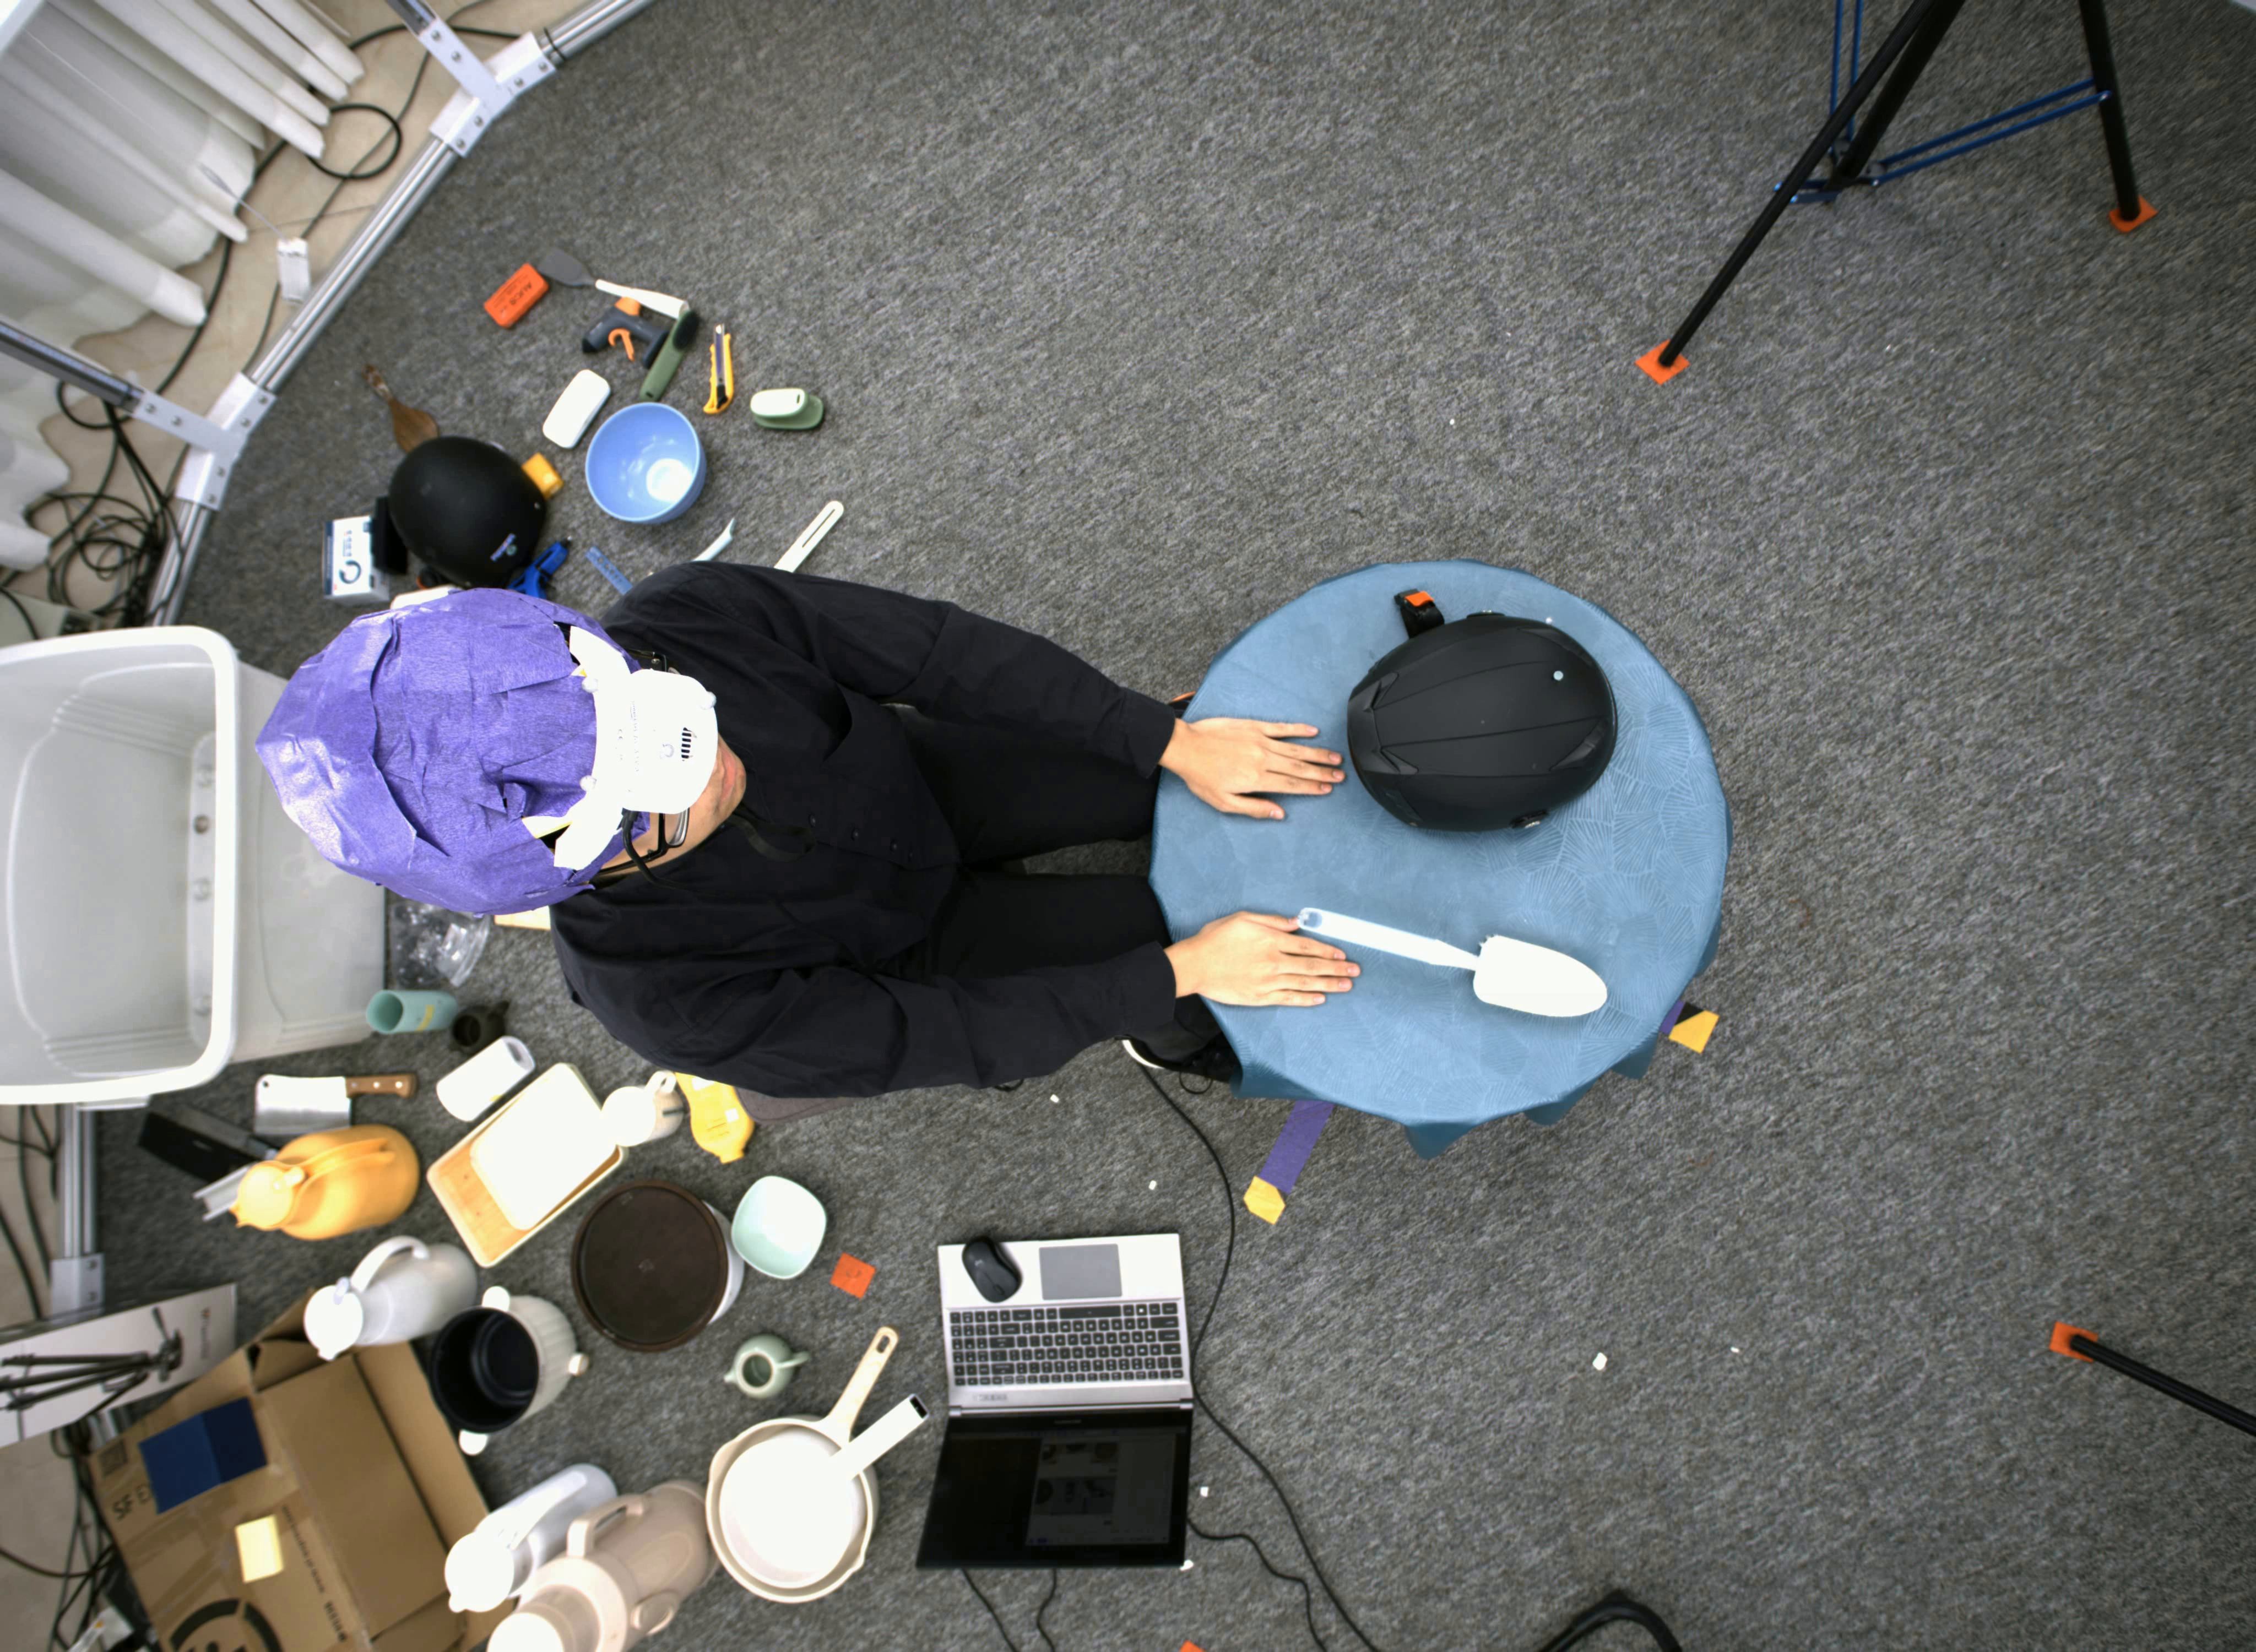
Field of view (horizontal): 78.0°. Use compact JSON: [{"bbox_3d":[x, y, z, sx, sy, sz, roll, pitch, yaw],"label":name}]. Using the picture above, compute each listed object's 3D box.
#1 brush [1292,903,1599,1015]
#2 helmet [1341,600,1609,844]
[{"bbox_3d":[0.320,0.124,1.404,0.326,0.087,0.081,15,51,-1],"label":"brush"},{"bbox_3d":[0.351,-0.113,1.369,0.278,0.172,0.245,-10,85,6],"label":"helmet"}]
